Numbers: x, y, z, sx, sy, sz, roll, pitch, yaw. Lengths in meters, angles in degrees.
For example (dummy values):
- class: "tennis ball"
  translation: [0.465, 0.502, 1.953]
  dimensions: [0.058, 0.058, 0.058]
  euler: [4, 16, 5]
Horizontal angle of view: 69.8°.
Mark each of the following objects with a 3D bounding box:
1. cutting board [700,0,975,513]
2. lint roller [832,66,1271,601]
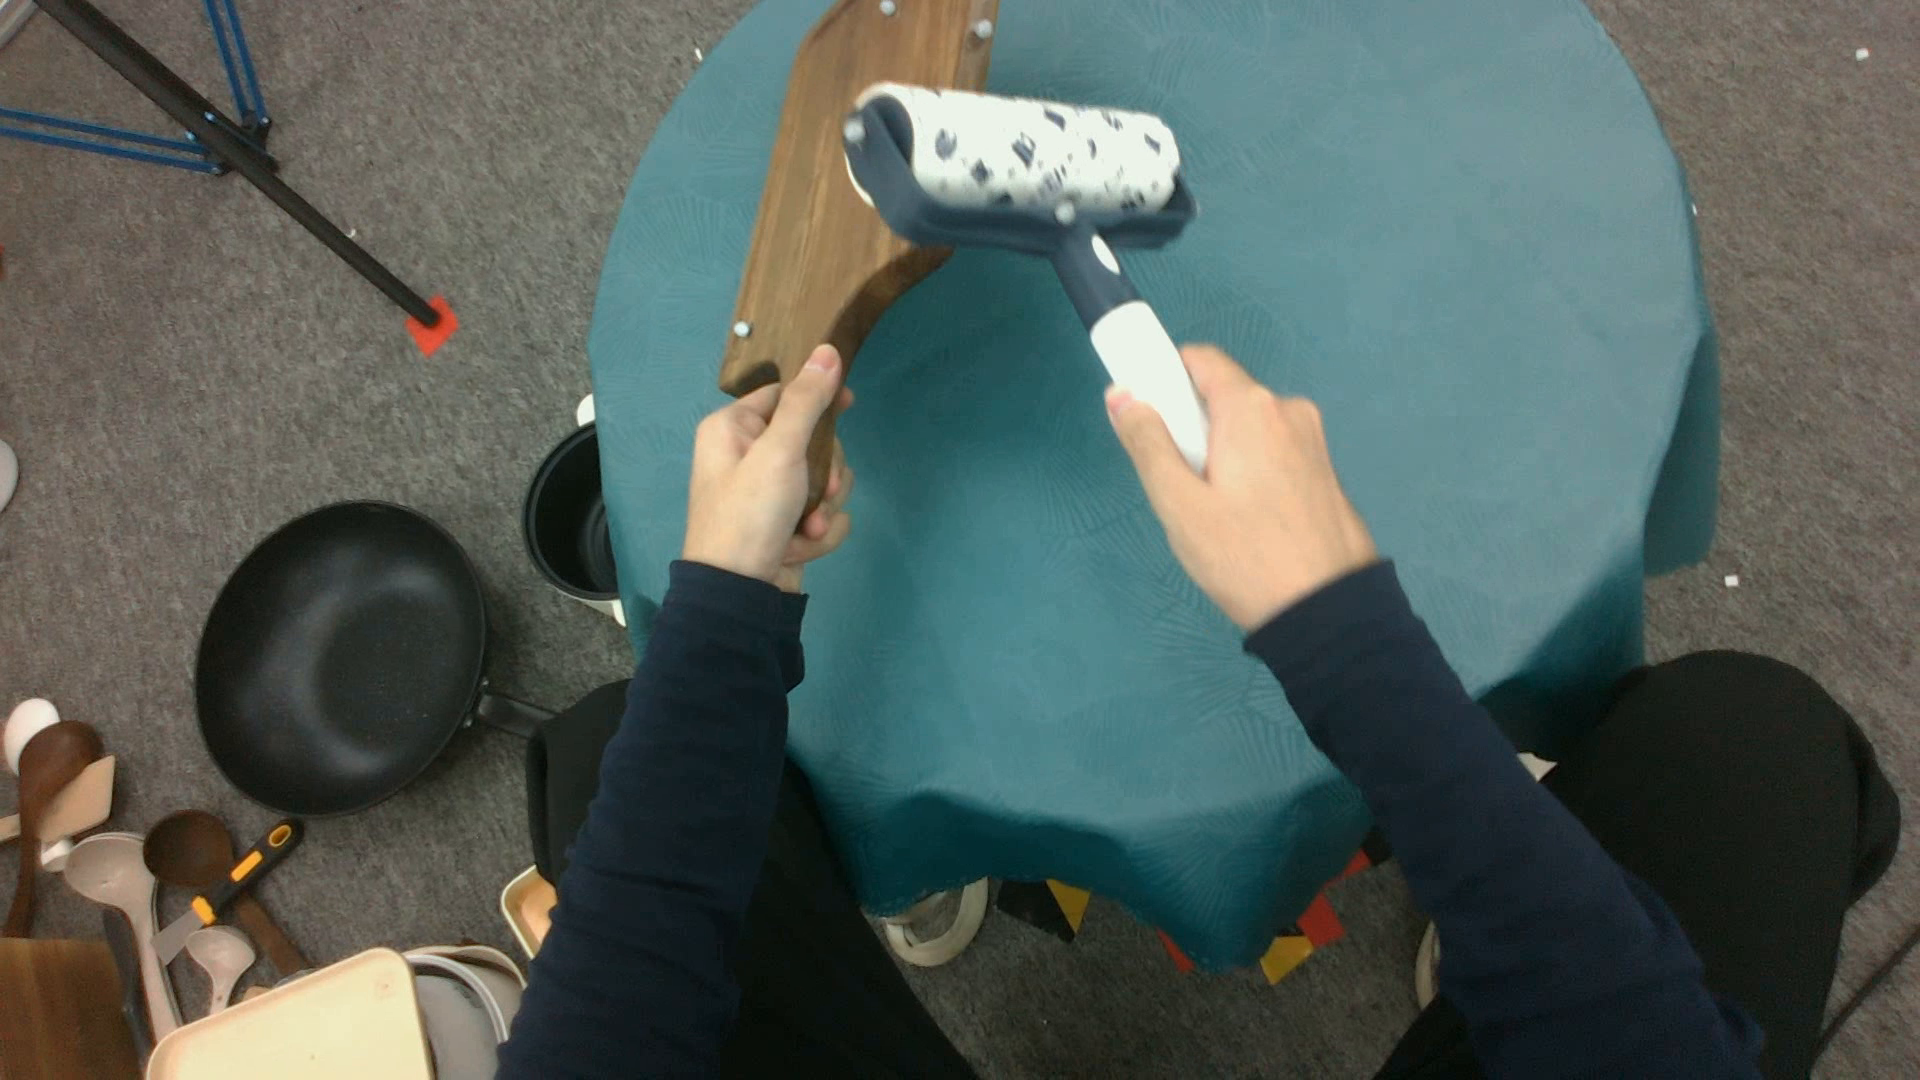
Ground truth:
- class: "cutting board"
  translation: [-0.066, -0.173, 0.690]
  dimensions: [0.200, 0.023, 0.353]
  euler: [-24, 51, 48]
- class: "lint roller"
  translation: [0.066, -0.089, 0.568]
  dimensions: [0.050, 0.177, 0.247]
  euler: [-44, 67, 41]
